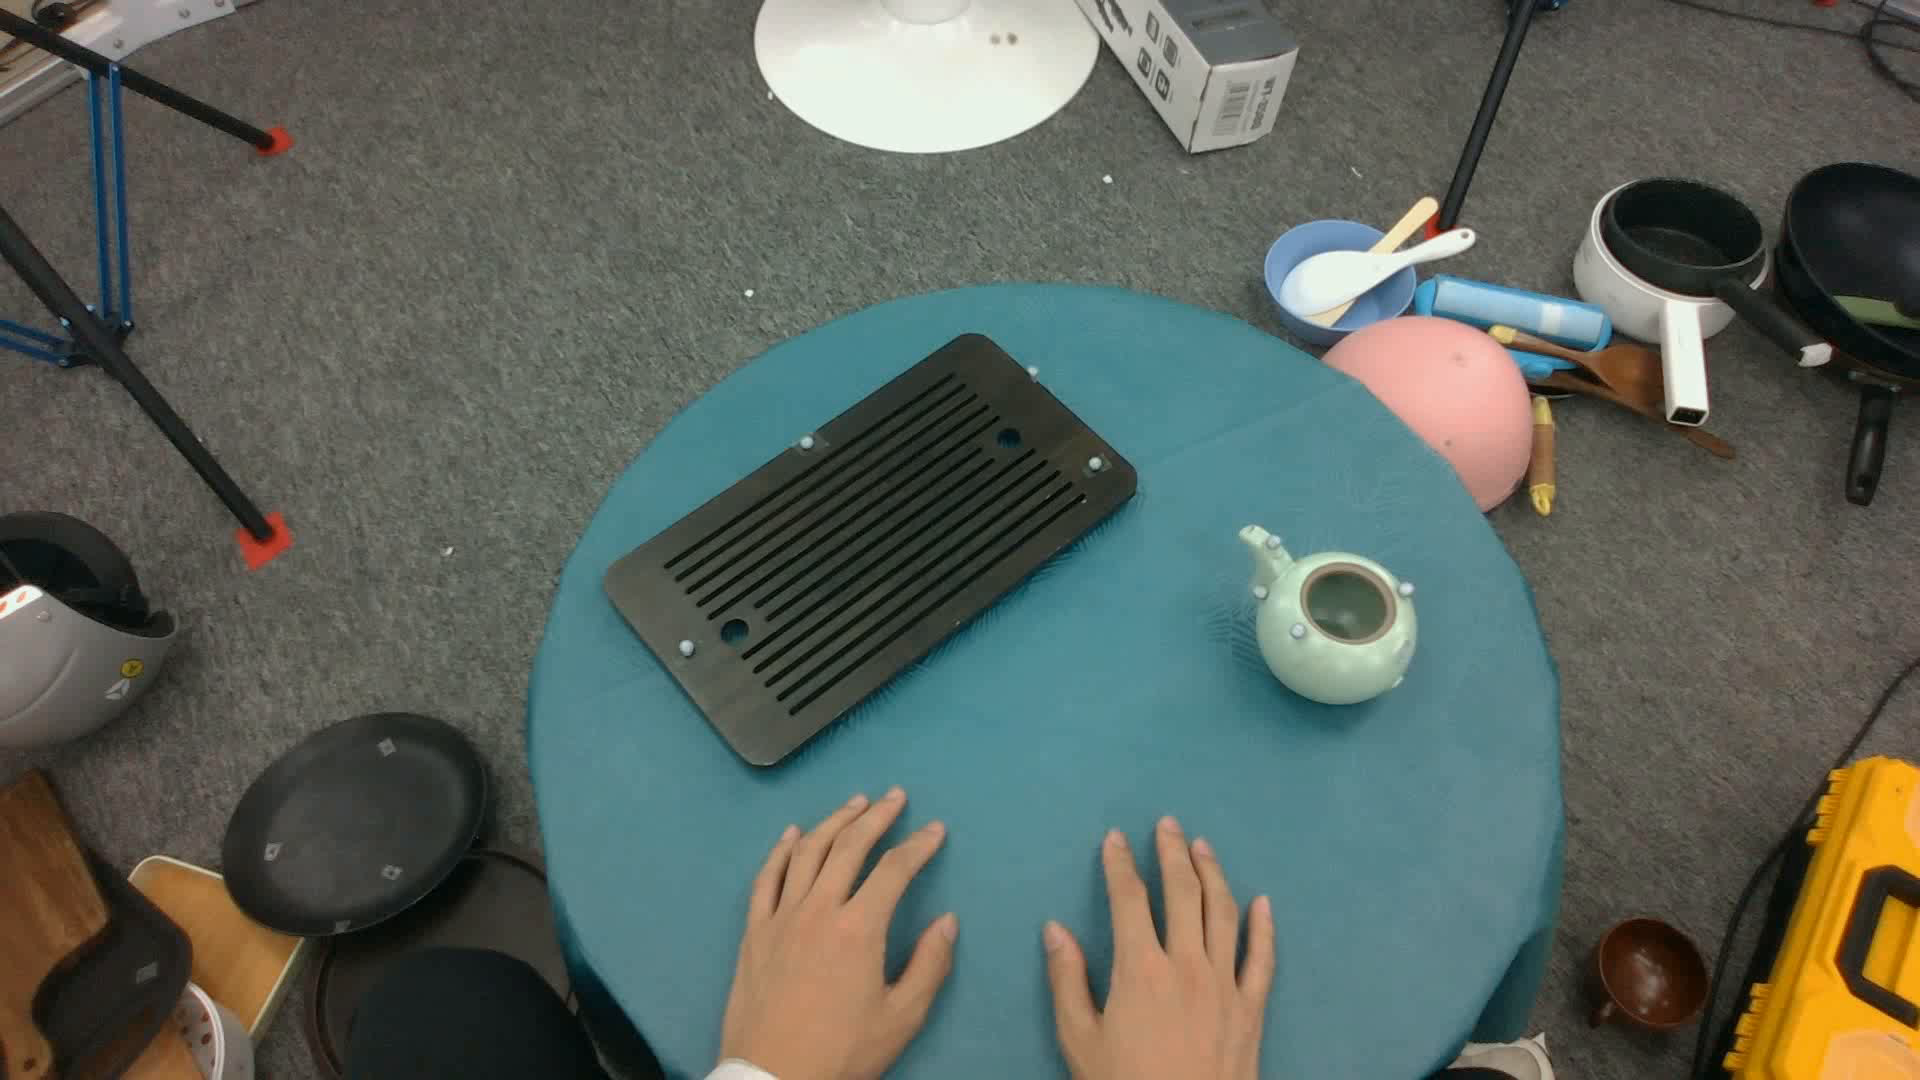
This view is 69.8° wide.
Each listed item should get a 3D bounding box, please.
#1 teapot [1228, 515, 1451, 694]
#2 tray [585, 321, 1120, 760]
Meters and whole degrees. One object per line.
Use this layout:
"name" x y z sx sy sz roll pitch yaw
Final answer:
"teapot" 0.209 0.043 0.786 0.144 0.074 0.088 37 65 23
"tray" -0.062 -0.010 0.852 0.307 0.018 0.170 -37 65 -20
